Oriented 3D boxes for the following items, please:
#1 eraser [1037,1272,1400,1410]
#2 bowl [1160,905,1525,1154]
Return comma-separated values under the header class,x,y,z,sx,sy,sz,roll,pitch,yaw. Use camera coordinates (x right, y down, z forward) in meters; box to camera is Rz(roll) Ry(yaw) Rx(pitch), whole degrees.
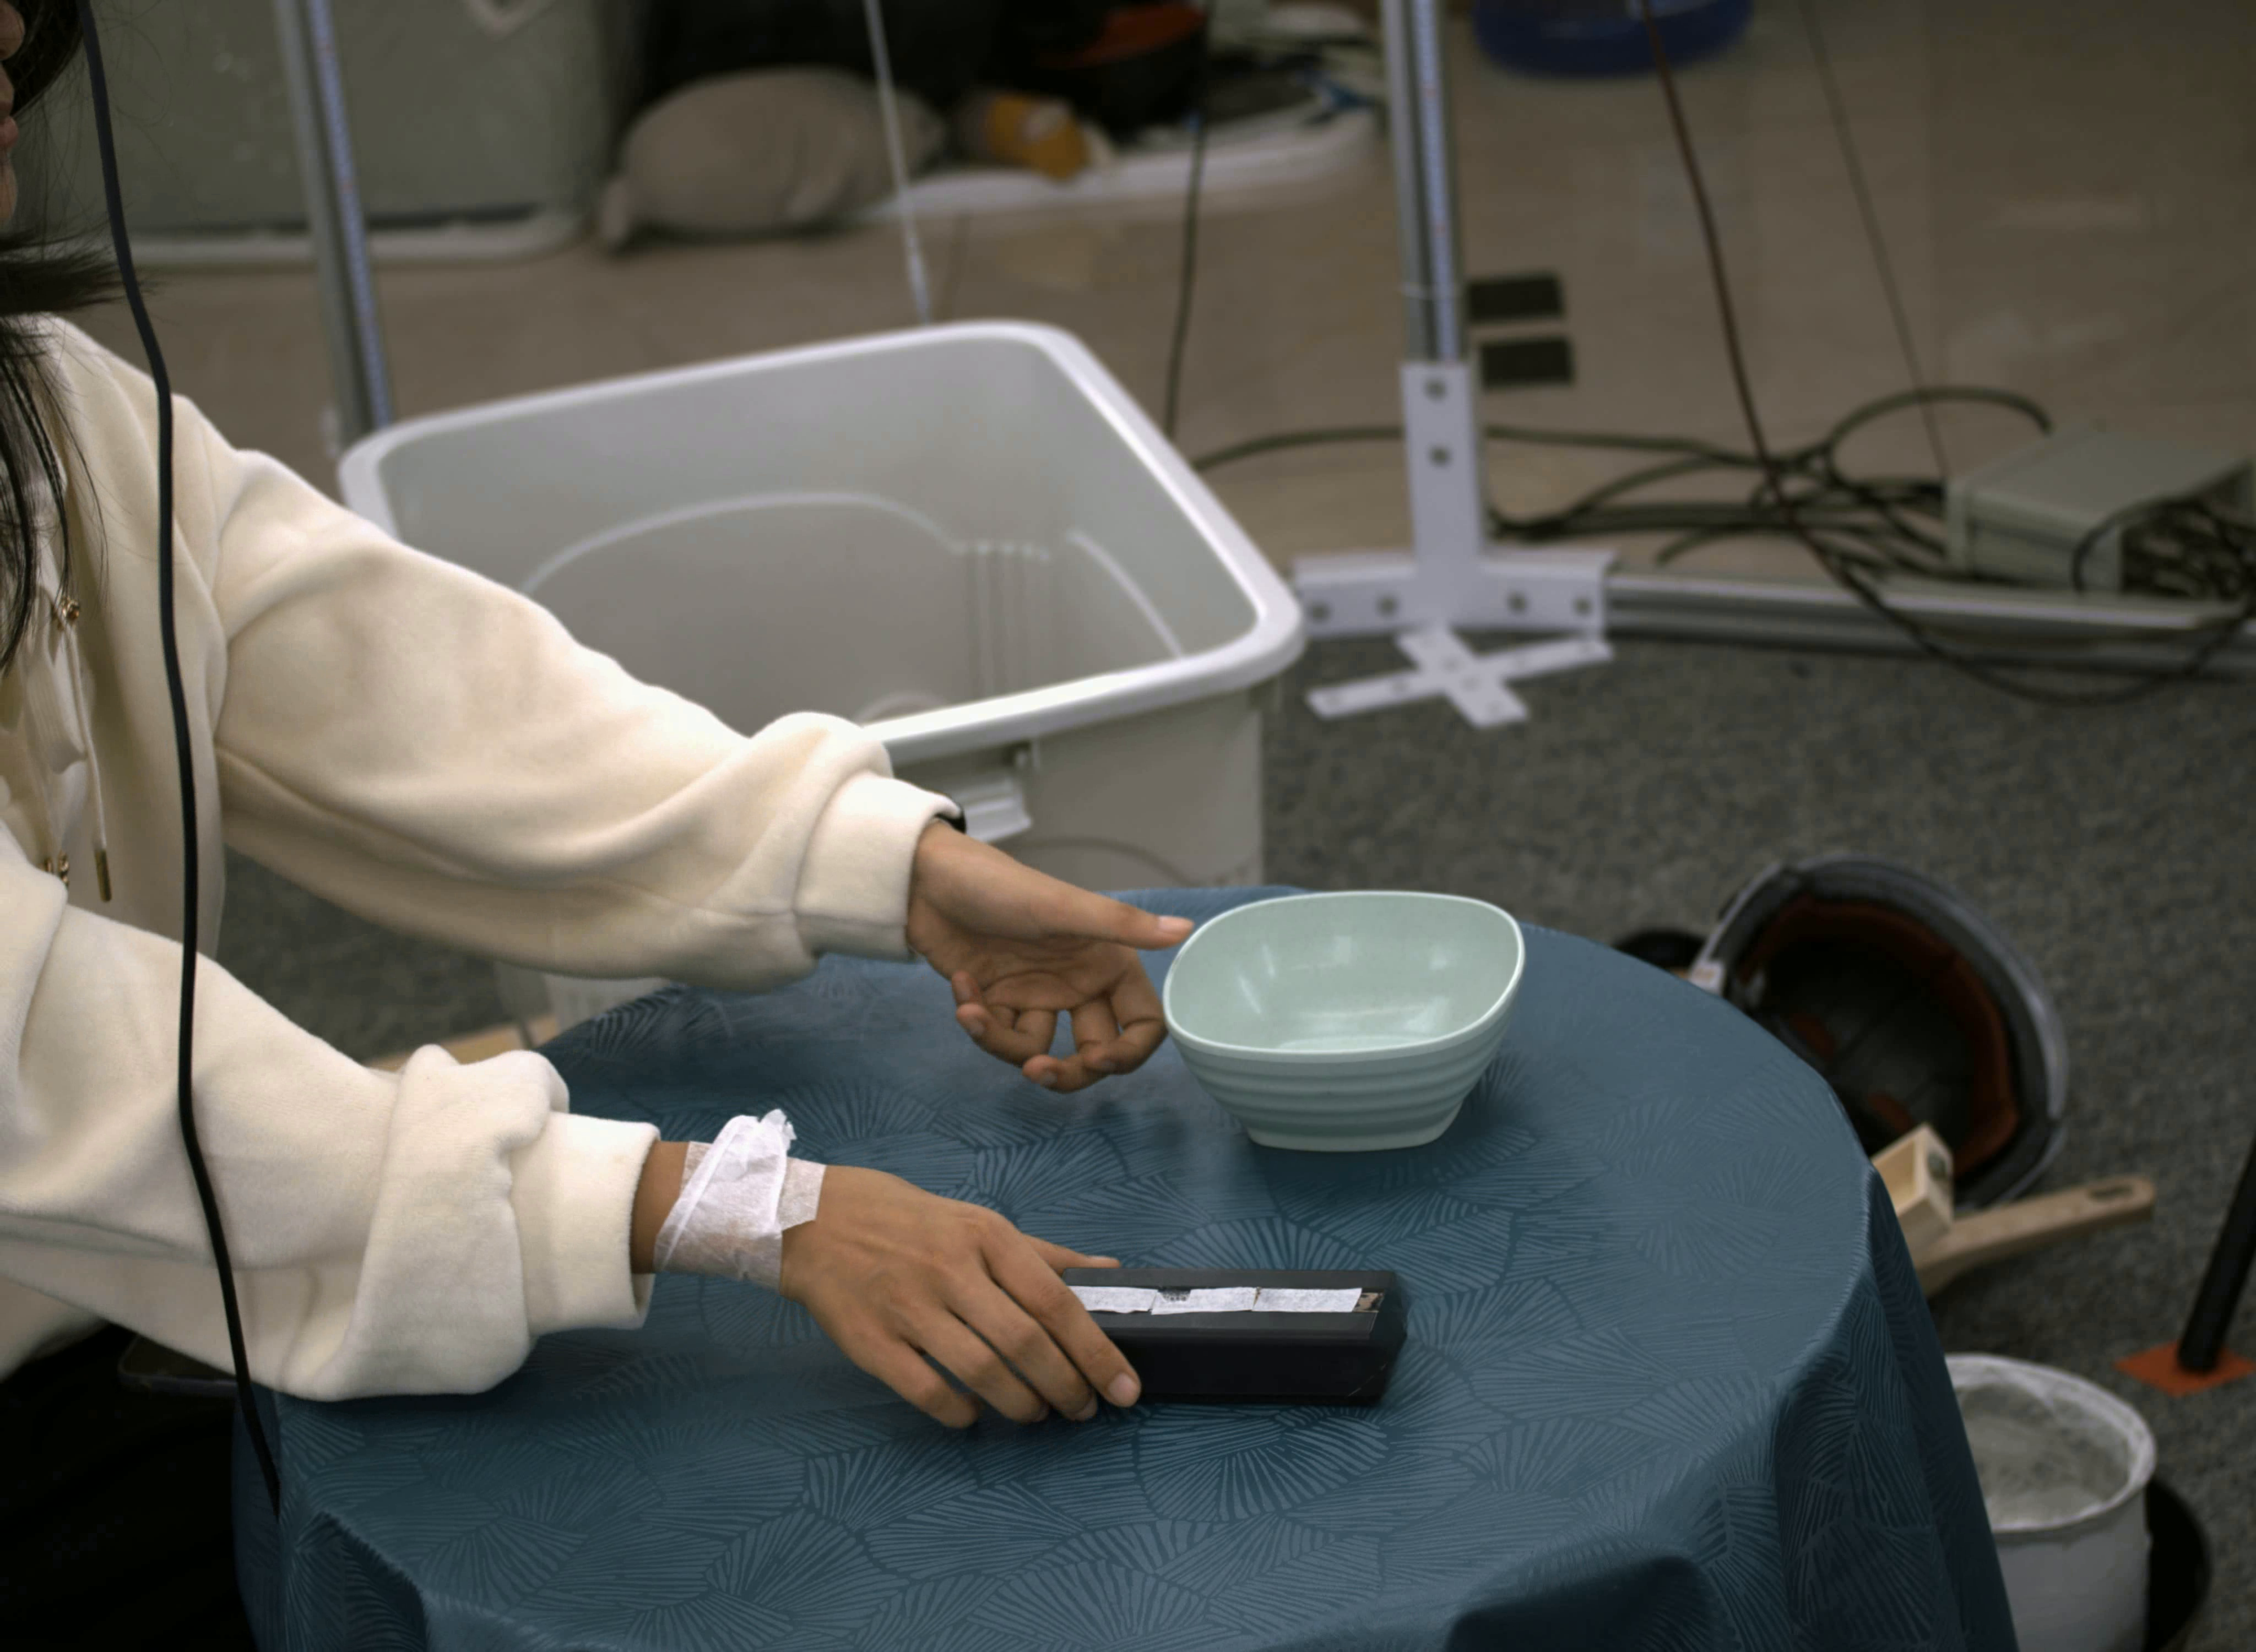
class,x,y,z,sx,sy,sz,roll,pitch,yaw
eraser,0.033,0.182,2.015,0.125,0.031,0.053,-3,23,13
bowl,0.084,0.083,2.181,0.151,0.059,0.149,-5,22,2
